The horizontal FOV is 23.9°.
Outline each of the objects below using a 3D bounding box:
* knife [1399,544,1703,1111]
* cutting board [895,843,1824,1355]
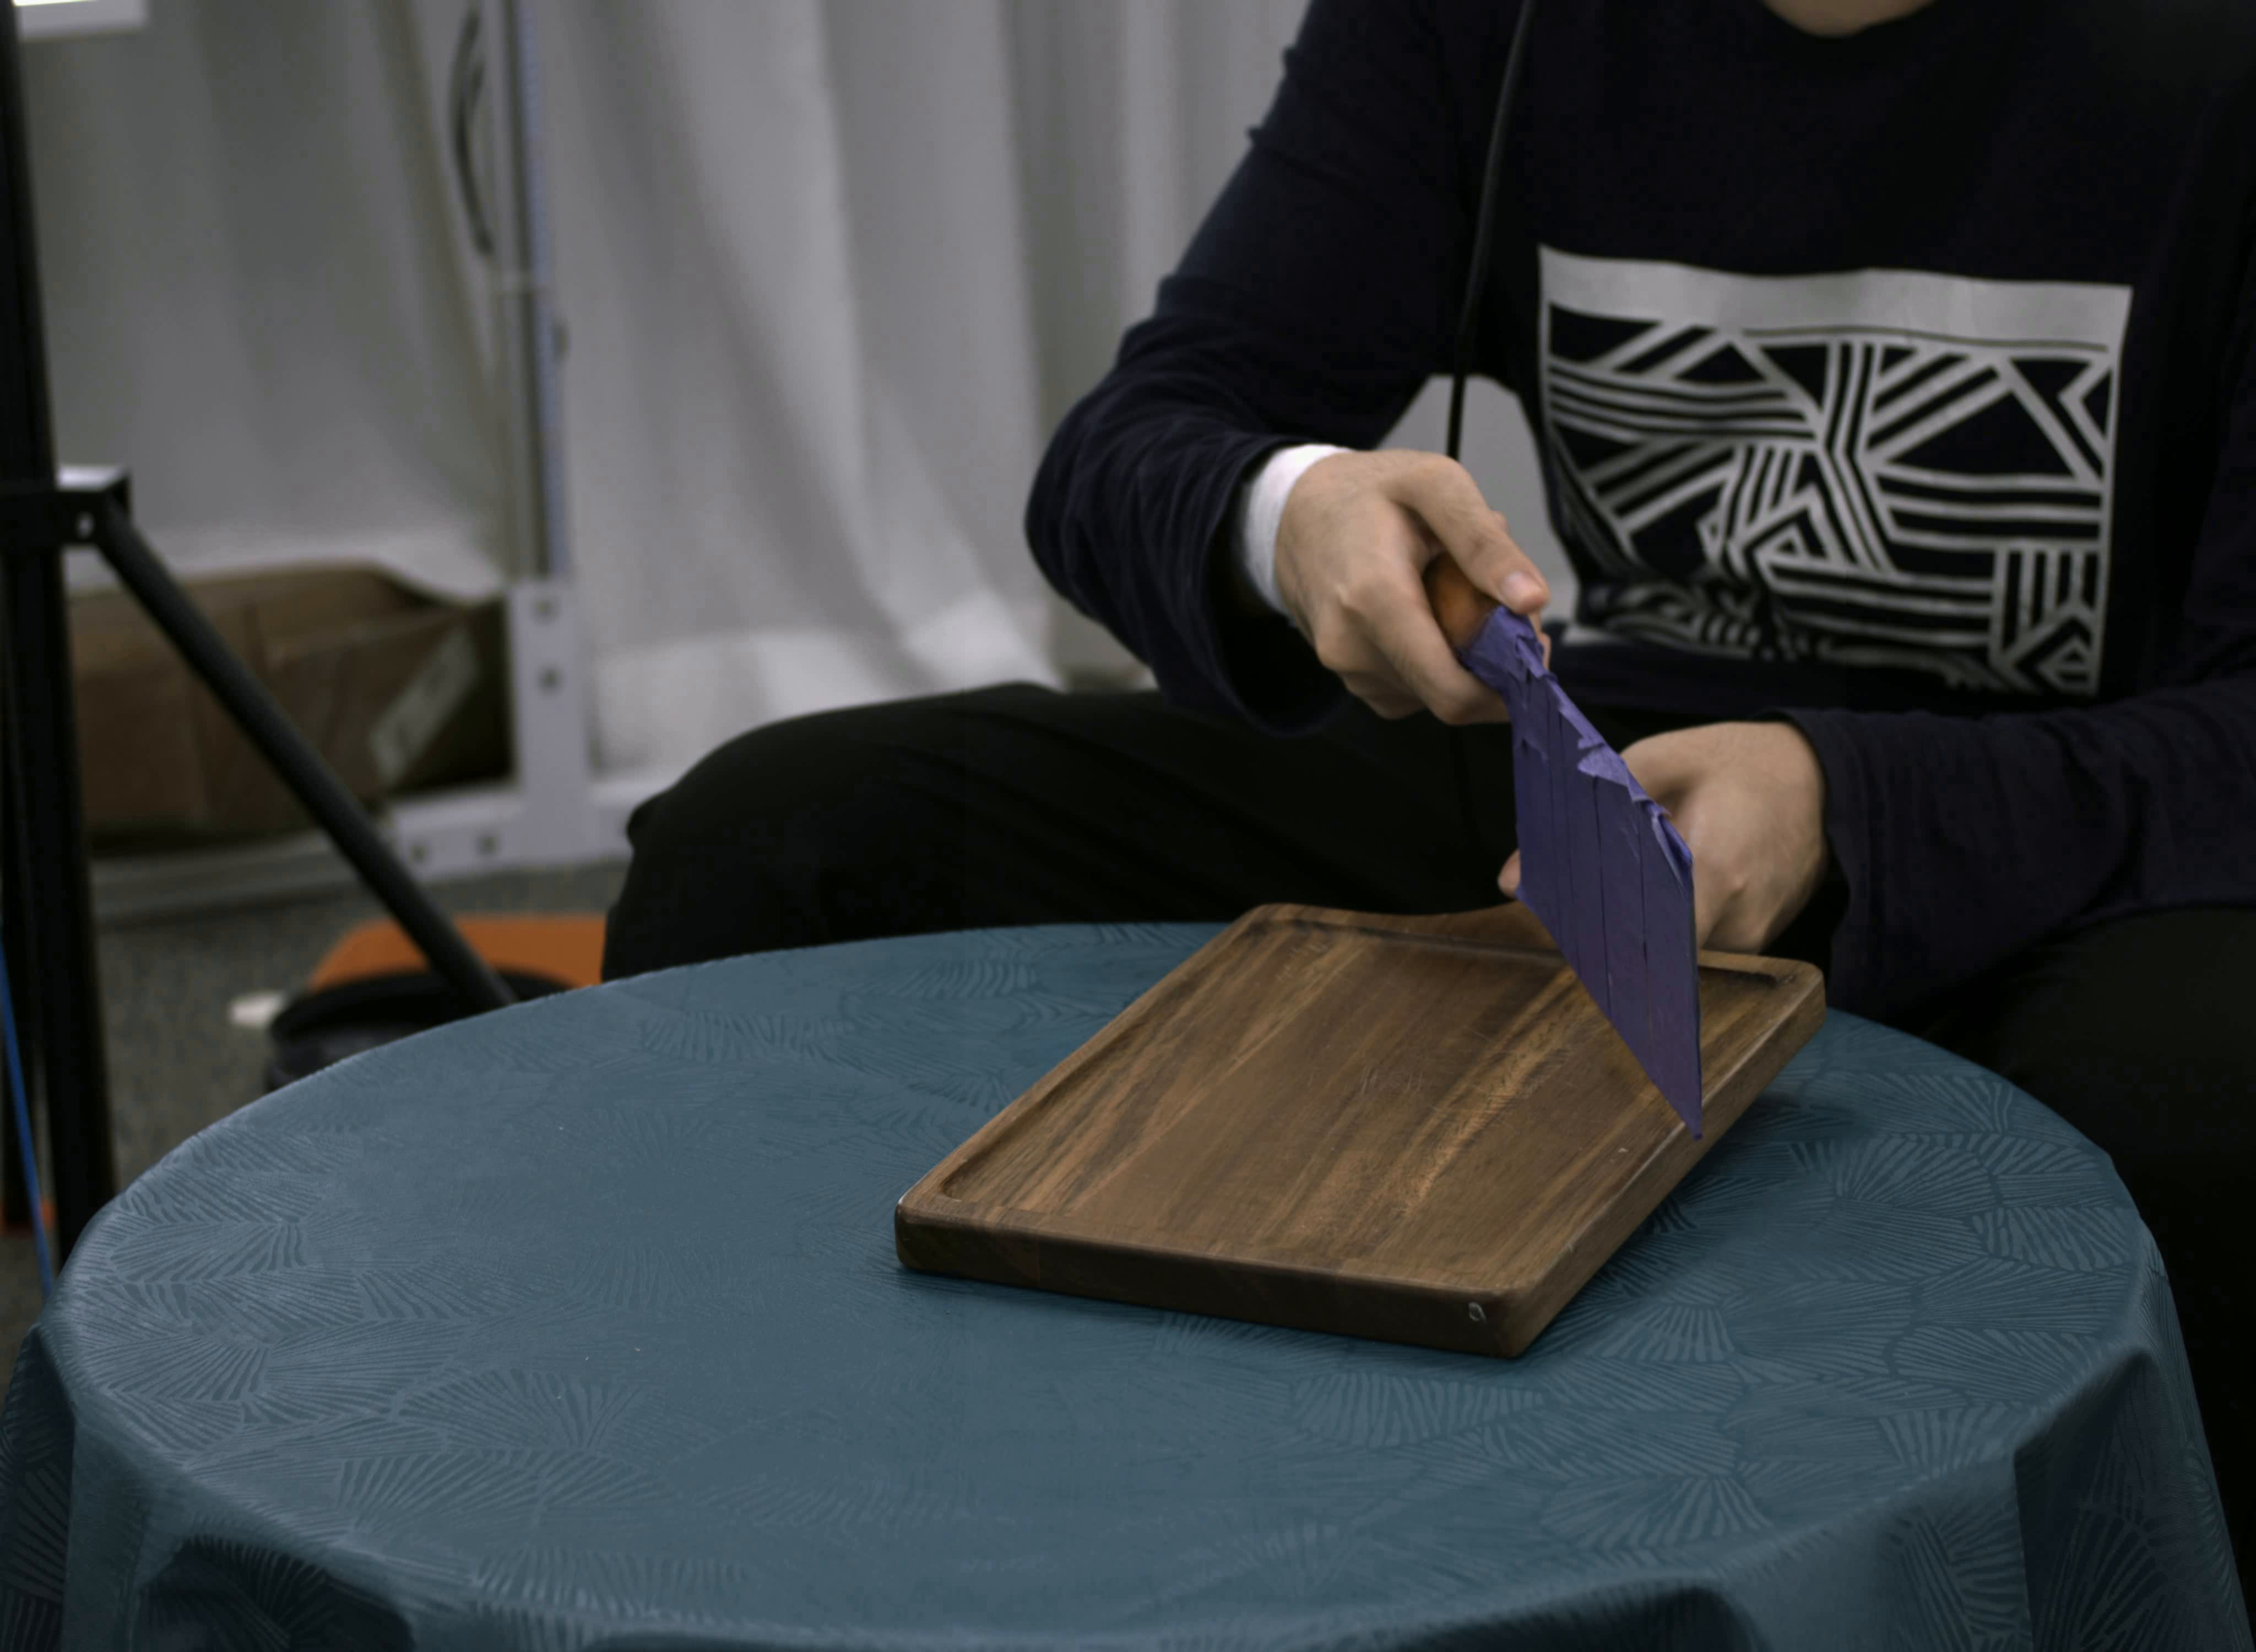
[{"bbox_3d":[0.126,-0.002,1.609,0.032,0.104,0.318,-5,19,-7],"label":"knife"},{"bbox_3d":[0.095,0.068,1.600,0.204,0.023,0.347,5,22,27],"label":"cutting board"}]
